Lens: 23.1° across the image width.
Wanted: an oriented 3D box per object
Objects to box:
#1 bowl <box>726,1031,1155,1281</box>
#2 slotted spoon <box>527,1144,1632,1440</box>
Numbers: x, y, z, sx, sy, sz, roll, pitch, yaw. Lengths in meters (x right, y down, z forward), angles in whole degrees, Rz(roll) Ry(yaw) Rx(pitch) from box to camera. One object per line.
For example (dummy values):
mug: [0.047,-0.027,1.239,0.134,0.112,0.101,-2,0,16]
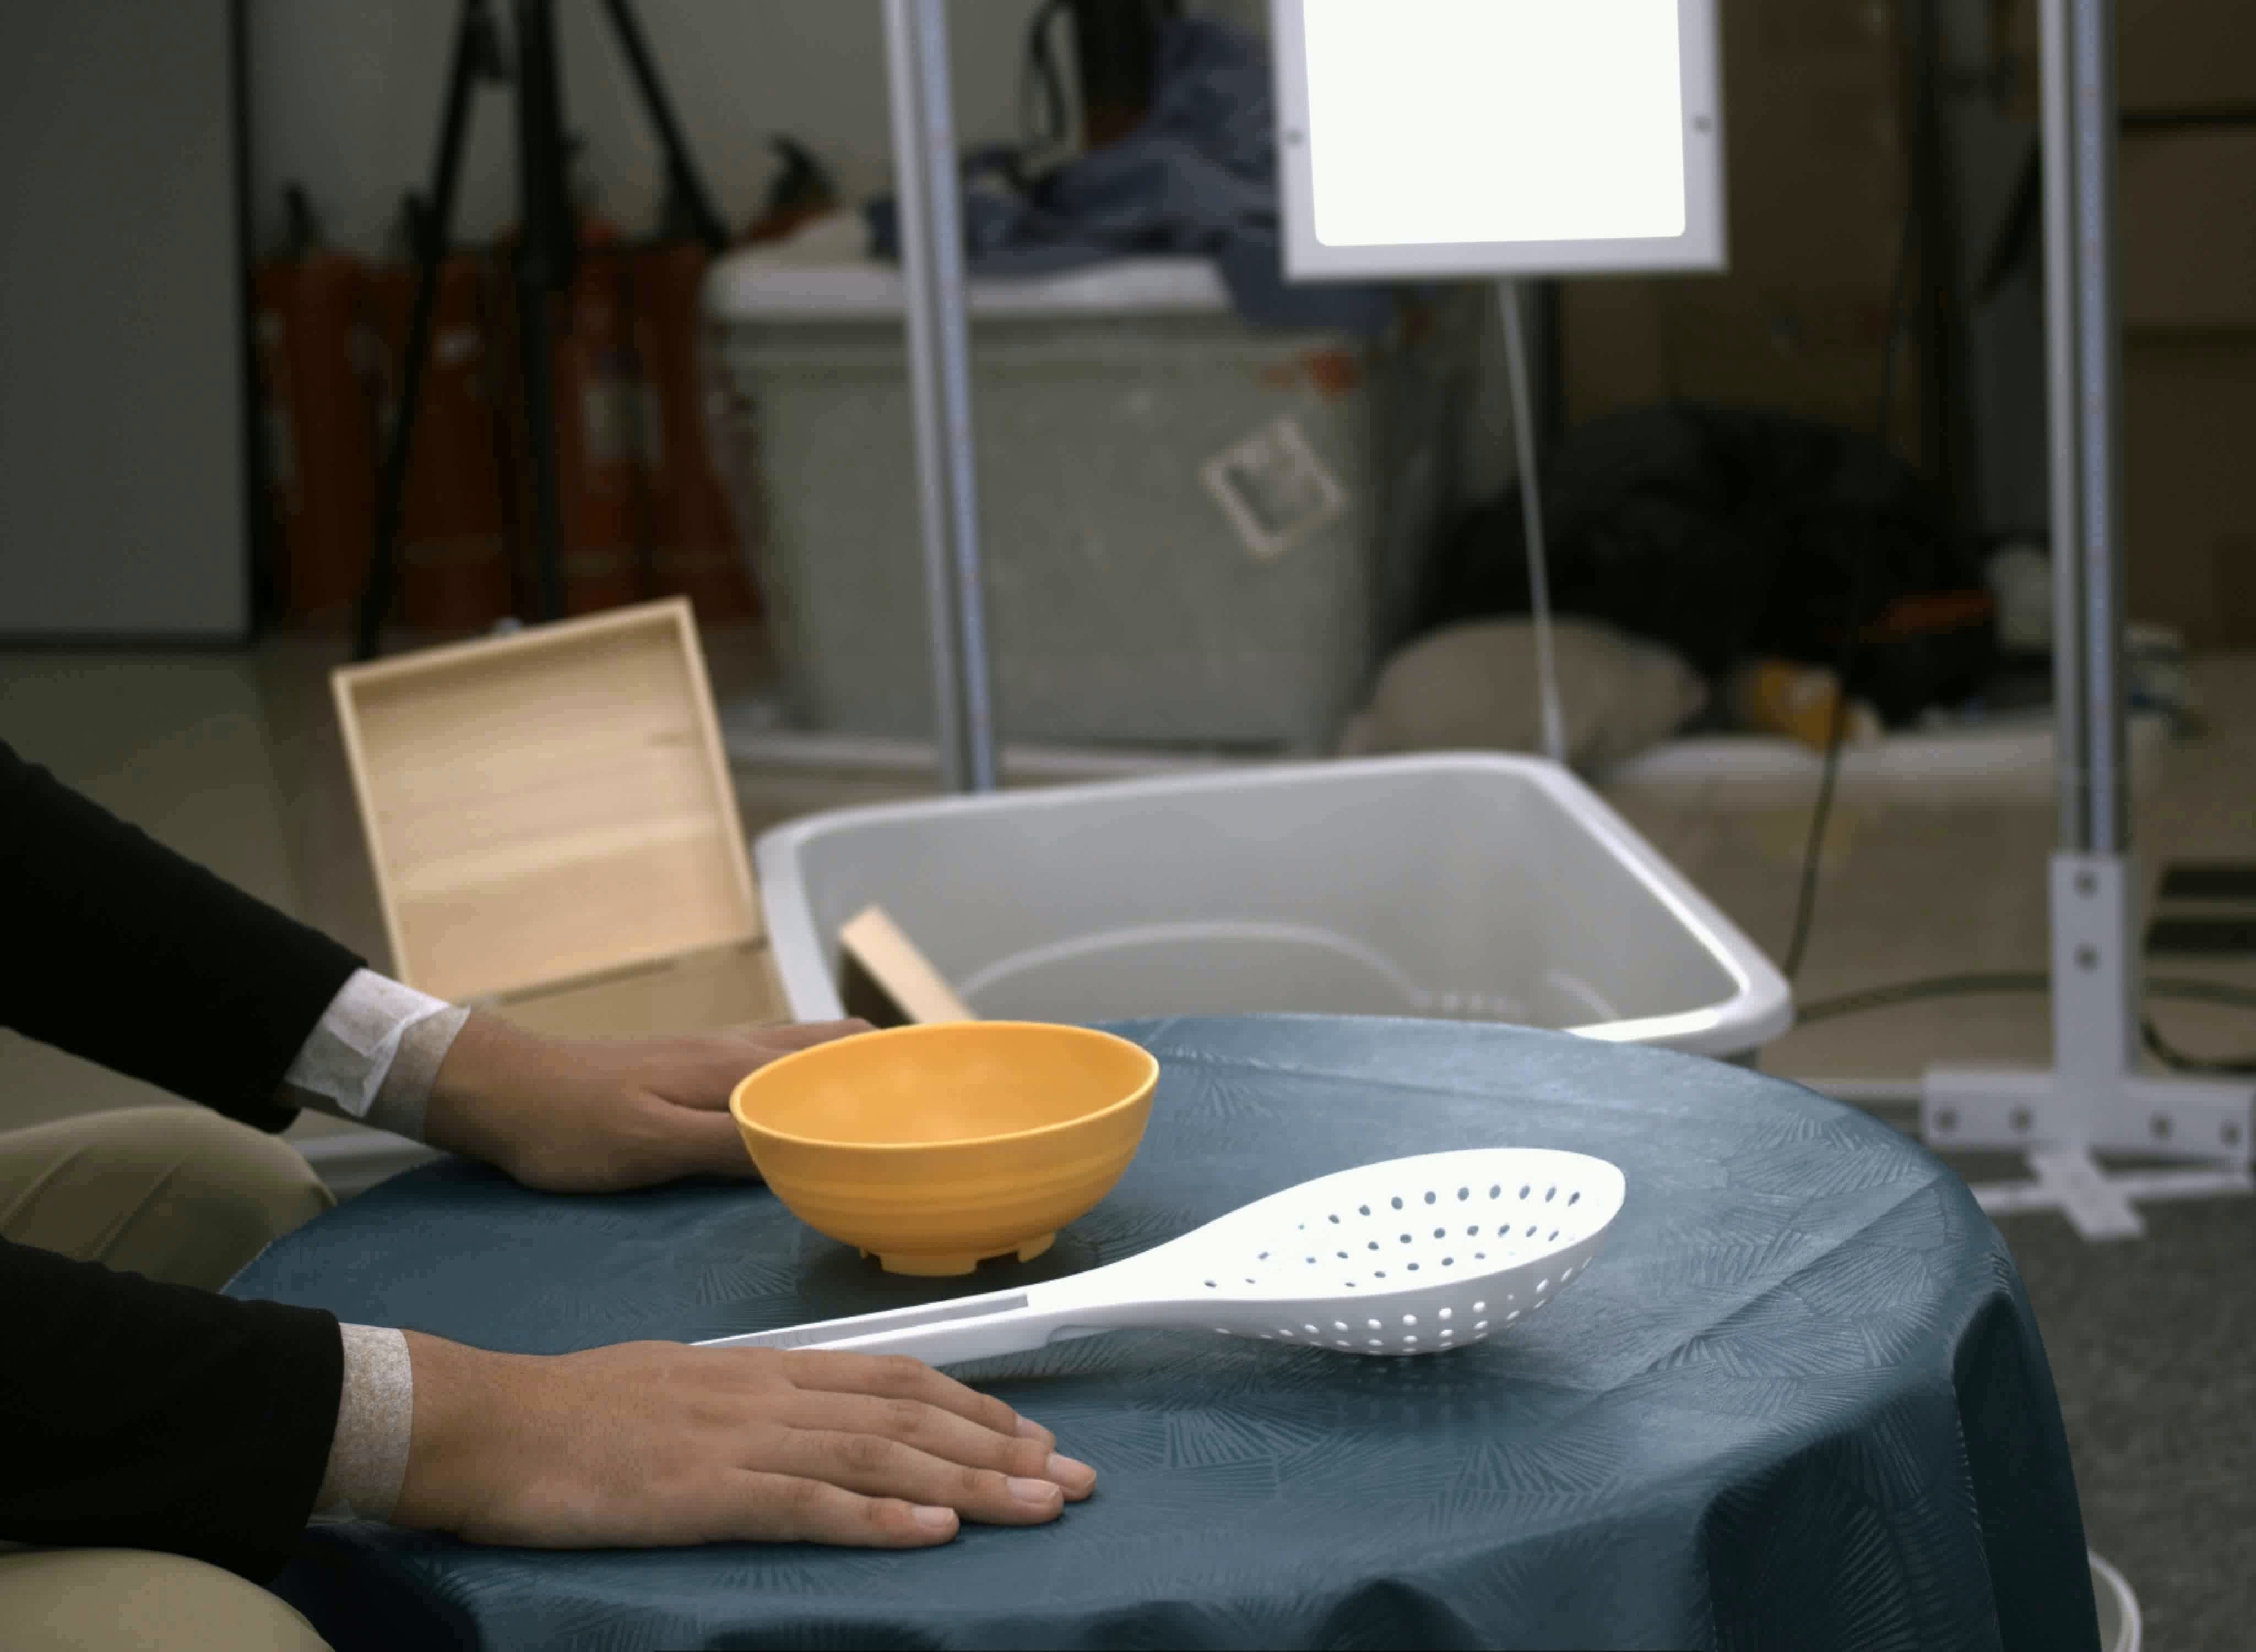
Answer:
bowl: [-0.062,0.115,1.850,0.145,0.060,0.145,-3,13,-1]
slotted spoon: [-0.015,0.149,1.715,0.348,0.046,0.136,-6,13,-1]
